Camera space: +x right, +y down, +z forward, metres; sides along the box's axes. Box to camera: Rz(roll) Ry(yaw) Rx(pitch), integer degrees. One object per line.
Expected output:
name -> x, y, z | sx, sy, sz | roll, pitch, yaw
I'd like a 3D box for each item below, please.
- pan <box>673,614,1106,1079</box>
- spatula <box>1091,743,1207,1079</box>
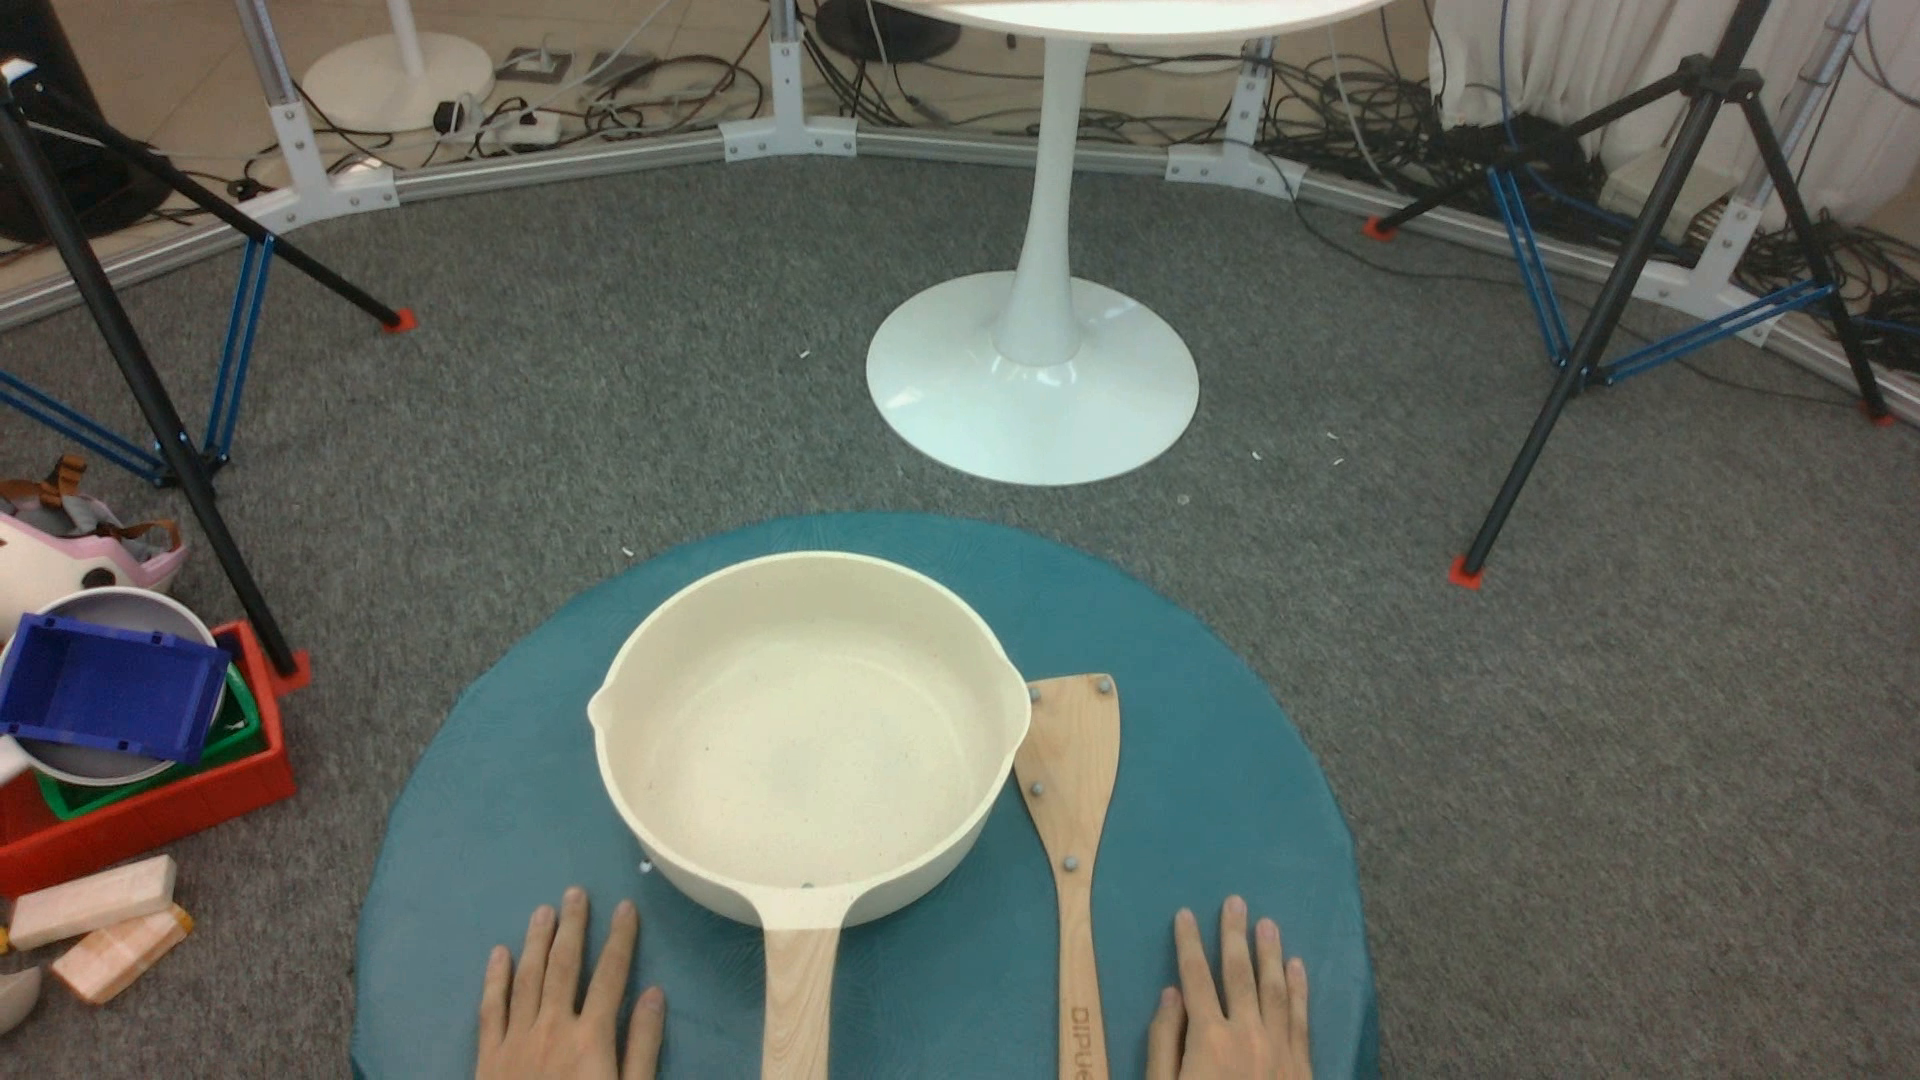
pan -> -0.044, 0.227, 0.792 | 0.263, 0.101, 0.437 | 2, 45, -1
spatula -> 0.116, 0.257, 0.825 | 0.080, 0.016, 0.329 | 3, 45, 2
